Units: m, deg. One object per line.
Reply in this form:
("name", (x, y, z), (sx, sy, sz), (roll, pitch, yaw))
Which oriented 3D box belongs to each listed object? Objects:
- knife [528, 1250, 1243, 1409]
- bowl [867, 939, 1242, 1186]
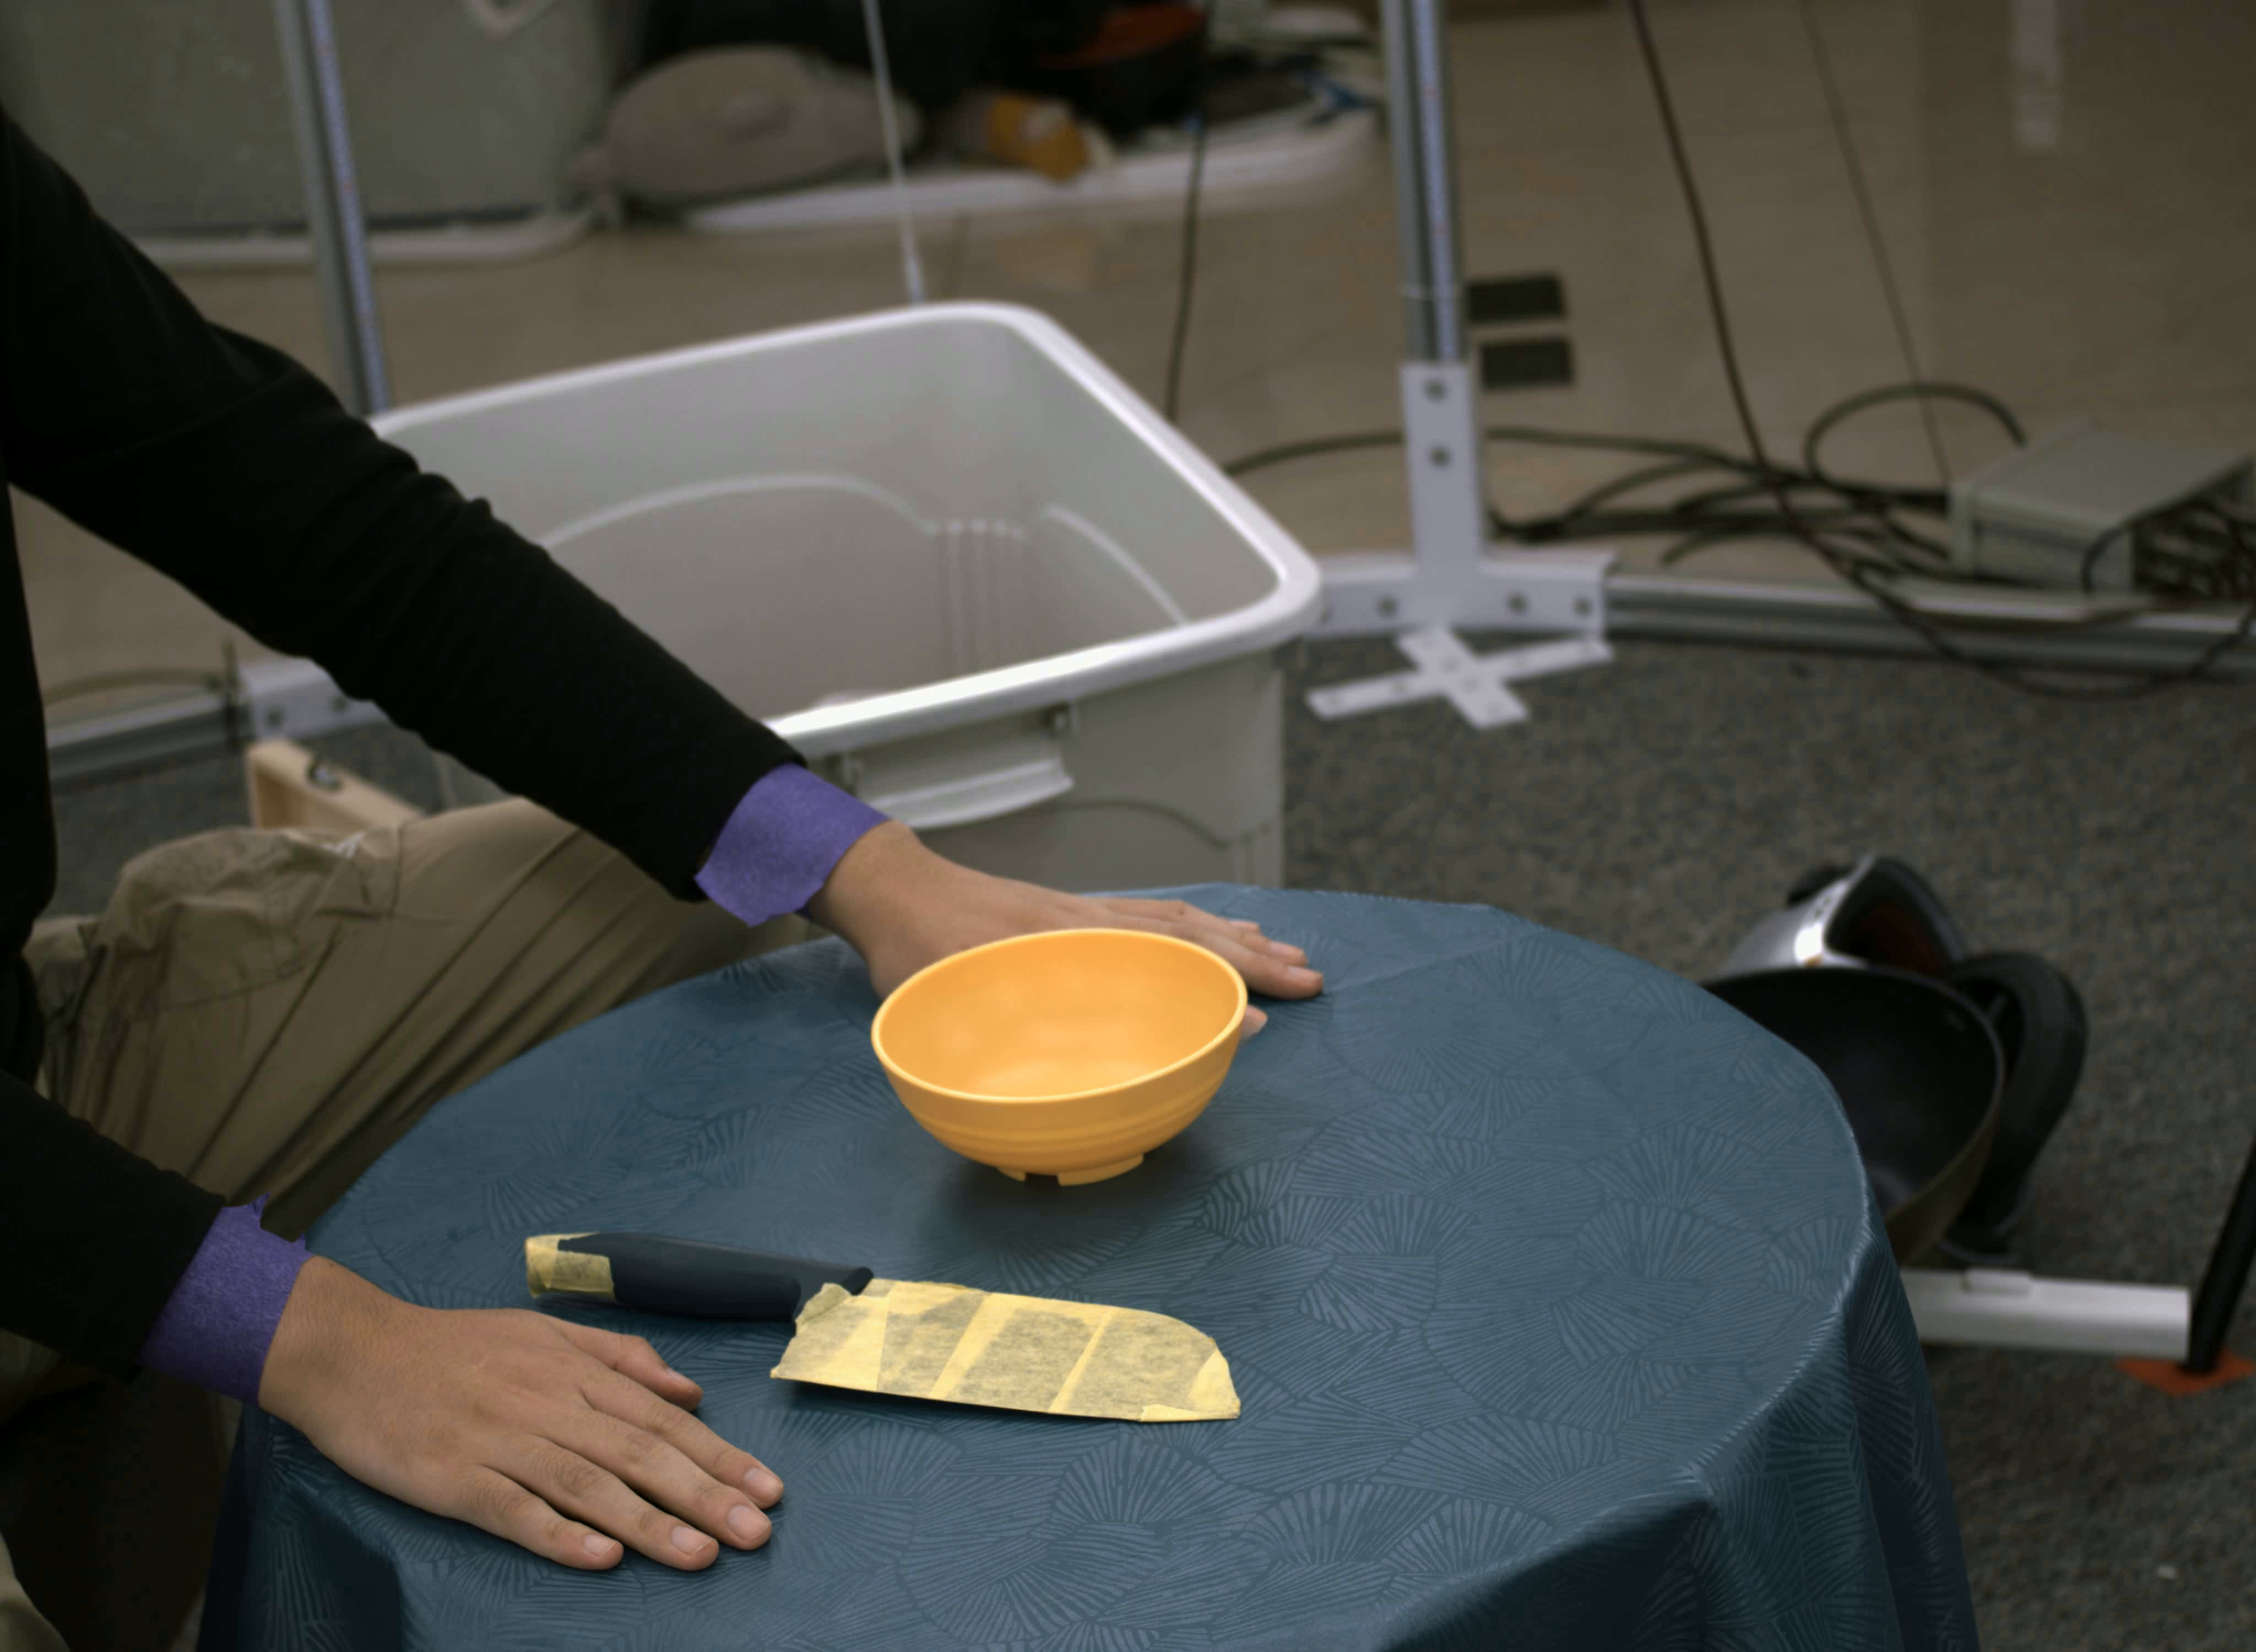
("knife", (-0.094, 0.184, 2.059), (0.288, 0.027, 0.080), (5, 26, 21))
("bowl", (-0.026, 0.098, 2.174), (0.145, 0.061, 0.143), (-4, 23, 2))
